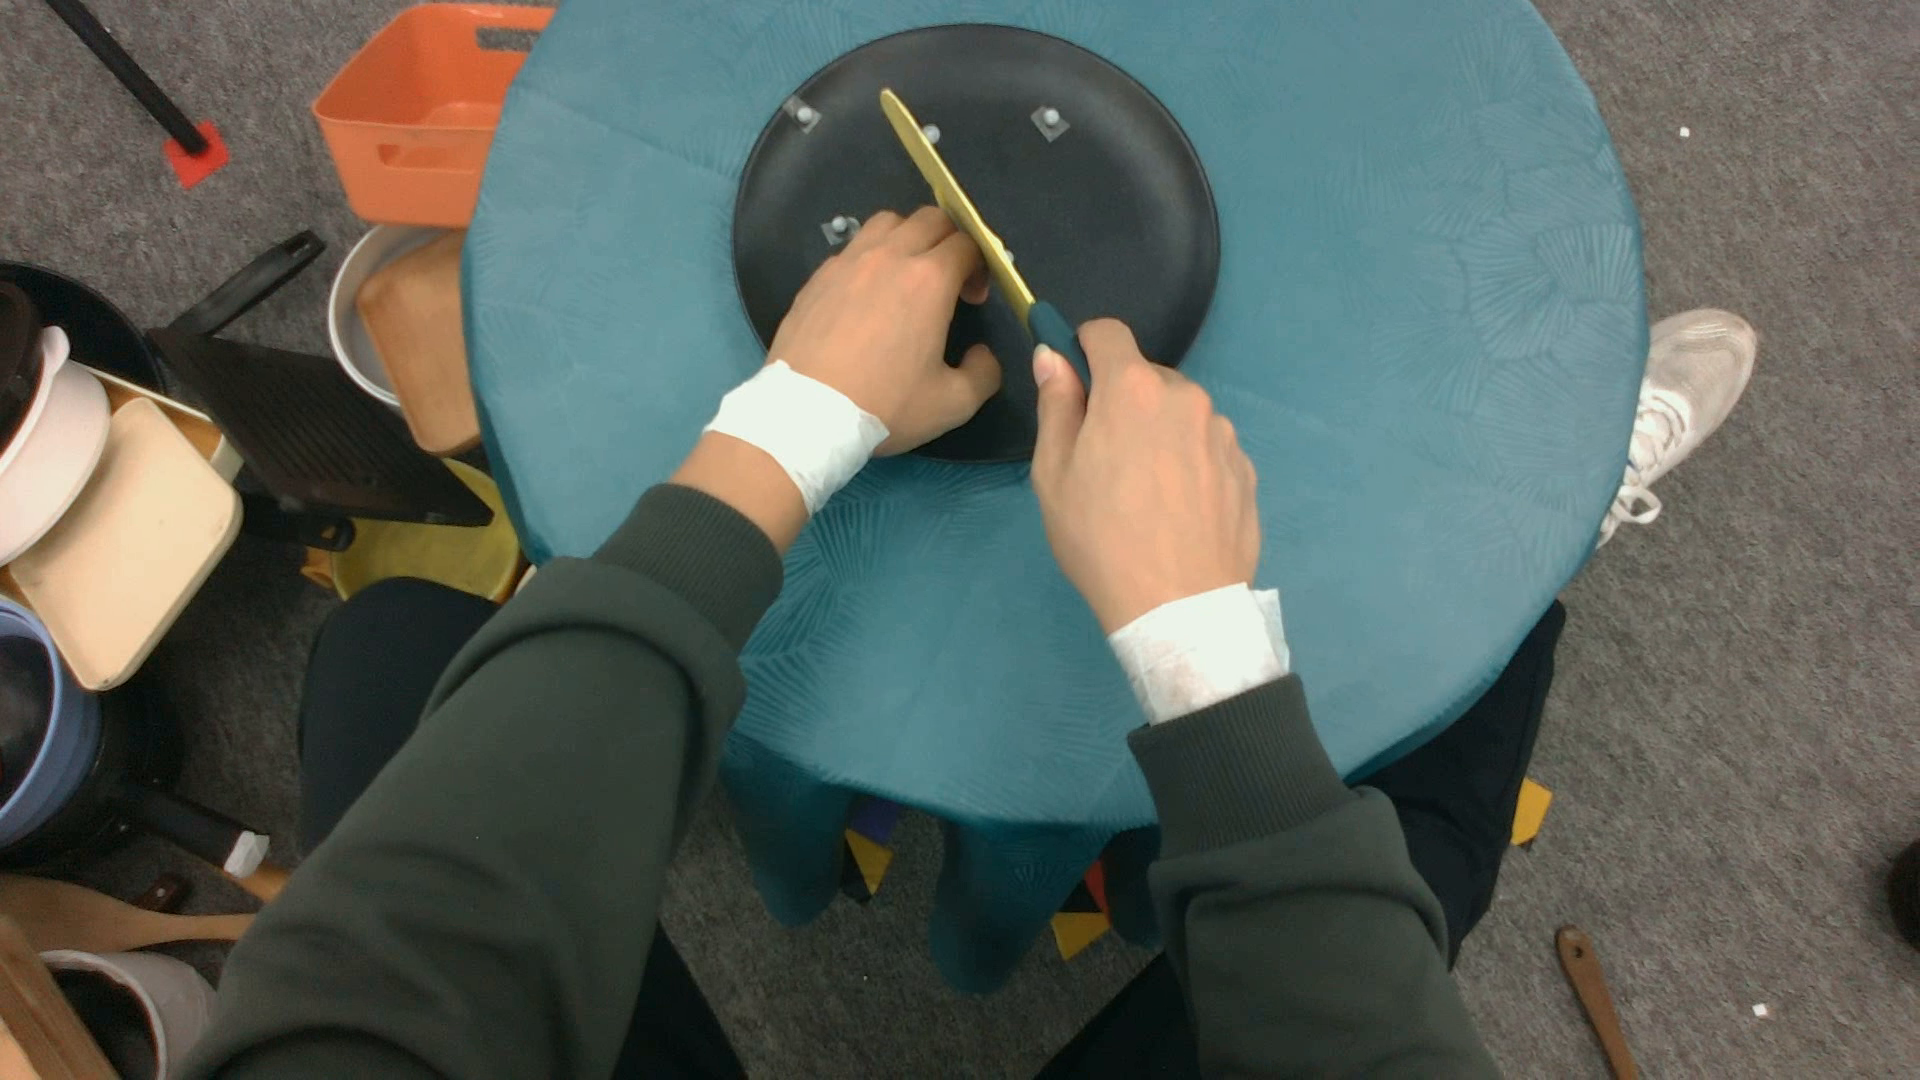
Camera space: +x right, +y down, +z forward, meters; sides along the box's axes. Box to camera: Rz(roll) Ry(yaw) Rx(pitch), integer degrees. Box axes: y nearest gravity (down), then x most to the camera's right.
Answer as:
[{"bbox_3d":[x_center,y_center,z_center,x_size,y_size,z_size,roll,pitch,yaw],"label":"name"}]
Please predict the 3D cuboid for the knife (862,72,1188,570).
[{"bbox_3d":[0.021,-0.106,0.621,0.027,0.081,0.290,-31,70,3],"label":"knife"}]

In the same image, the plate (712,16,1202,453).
[{"bbox_3d":[-0.001,-0.156,0.693,0.244,0.023,0.245,1,73,-2],"label":"plate"}]
